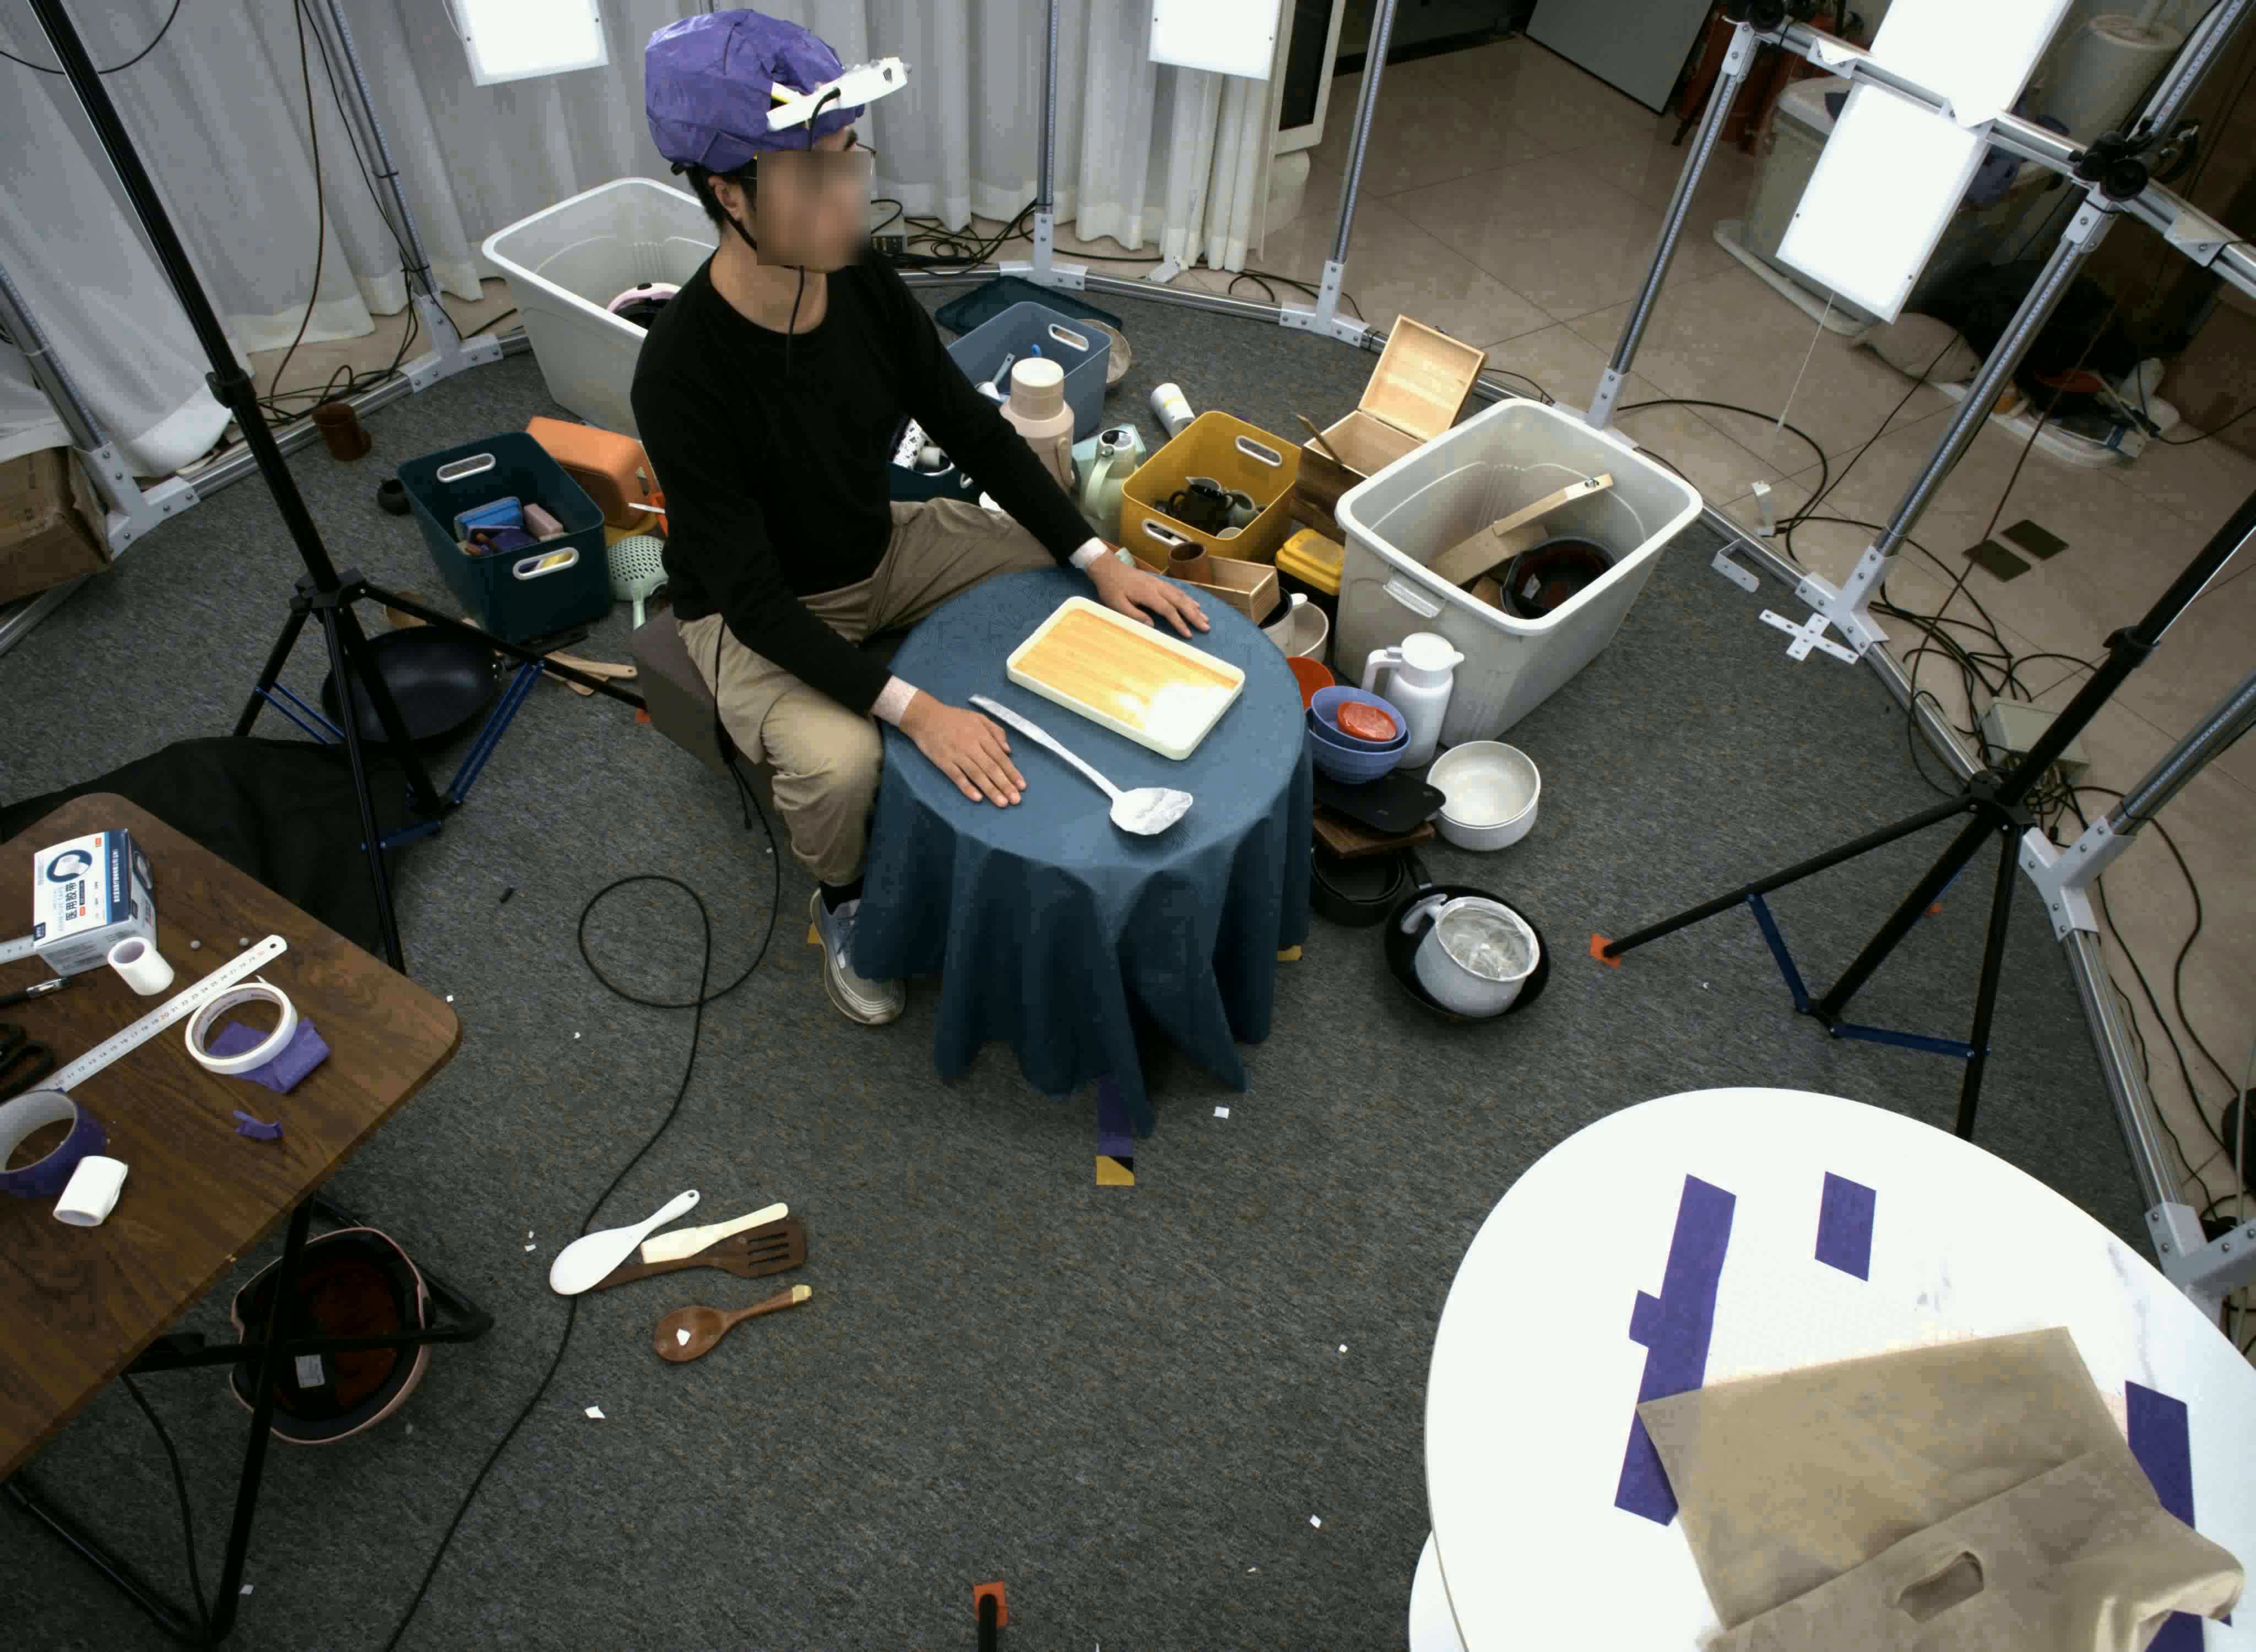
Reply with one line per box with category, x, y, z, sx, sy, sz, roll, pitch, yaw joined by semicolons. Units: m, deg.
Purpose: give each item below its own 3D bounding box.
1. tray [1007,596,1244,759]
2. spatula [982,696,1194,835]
tray;-0.003;-0.218;1.841;0.303;0.027;0.194;27;53;19
spatula;-0.073;-0.093;1.722;0.370;0.044;0.100;36;56;24
